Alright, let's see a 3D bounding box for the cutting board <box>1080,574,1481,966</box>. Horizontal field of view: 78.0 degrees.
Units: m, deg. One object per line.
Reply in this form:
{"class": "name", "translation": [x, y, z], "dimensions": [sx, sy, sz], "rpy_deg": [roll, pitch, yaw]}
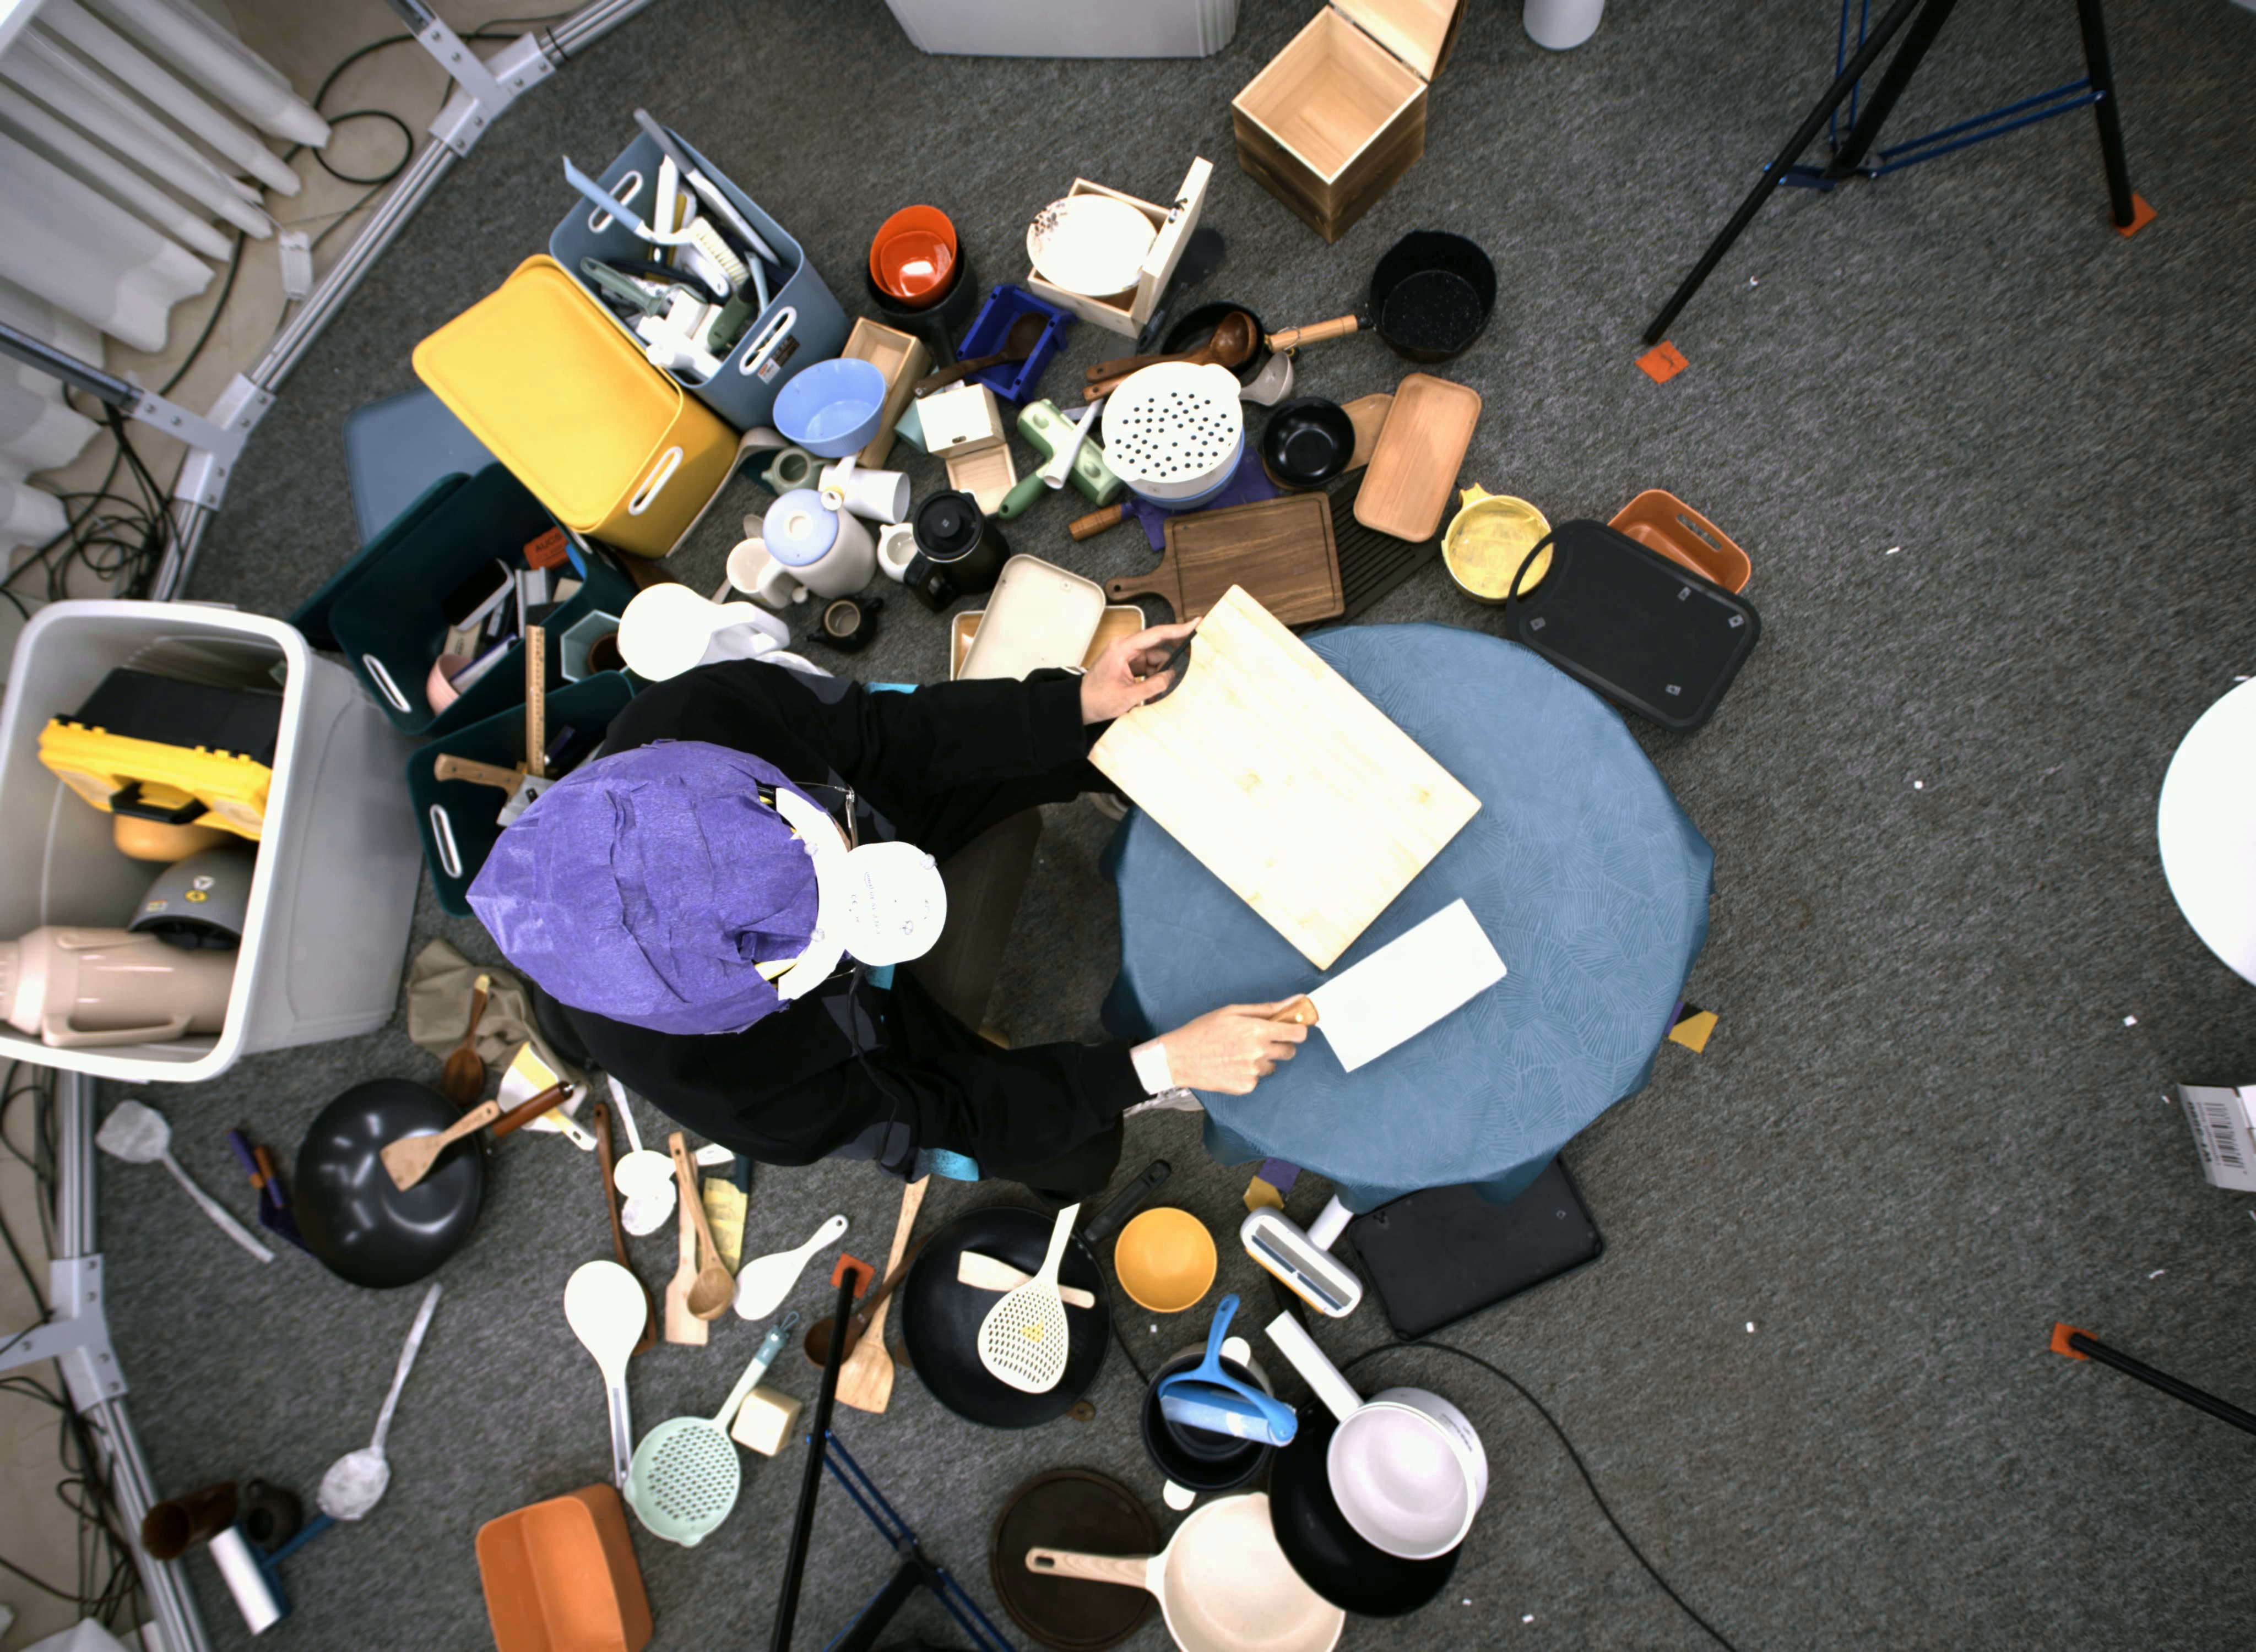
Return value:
{"class": "cutting board", "translation": [0.155, -0.055, 1.432], "dimensions": [0.348, 0.023, 0.253], "rpy_deg": [41, 104, 1]}

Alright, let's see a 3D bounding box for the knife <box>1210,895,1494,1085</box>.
{"class": "knife", "translation": [0.229, 0.185, 1.390], "dimensions": [0.307, 0.021, 0.093], "rpy_deg": [-34, 96, 6]}
